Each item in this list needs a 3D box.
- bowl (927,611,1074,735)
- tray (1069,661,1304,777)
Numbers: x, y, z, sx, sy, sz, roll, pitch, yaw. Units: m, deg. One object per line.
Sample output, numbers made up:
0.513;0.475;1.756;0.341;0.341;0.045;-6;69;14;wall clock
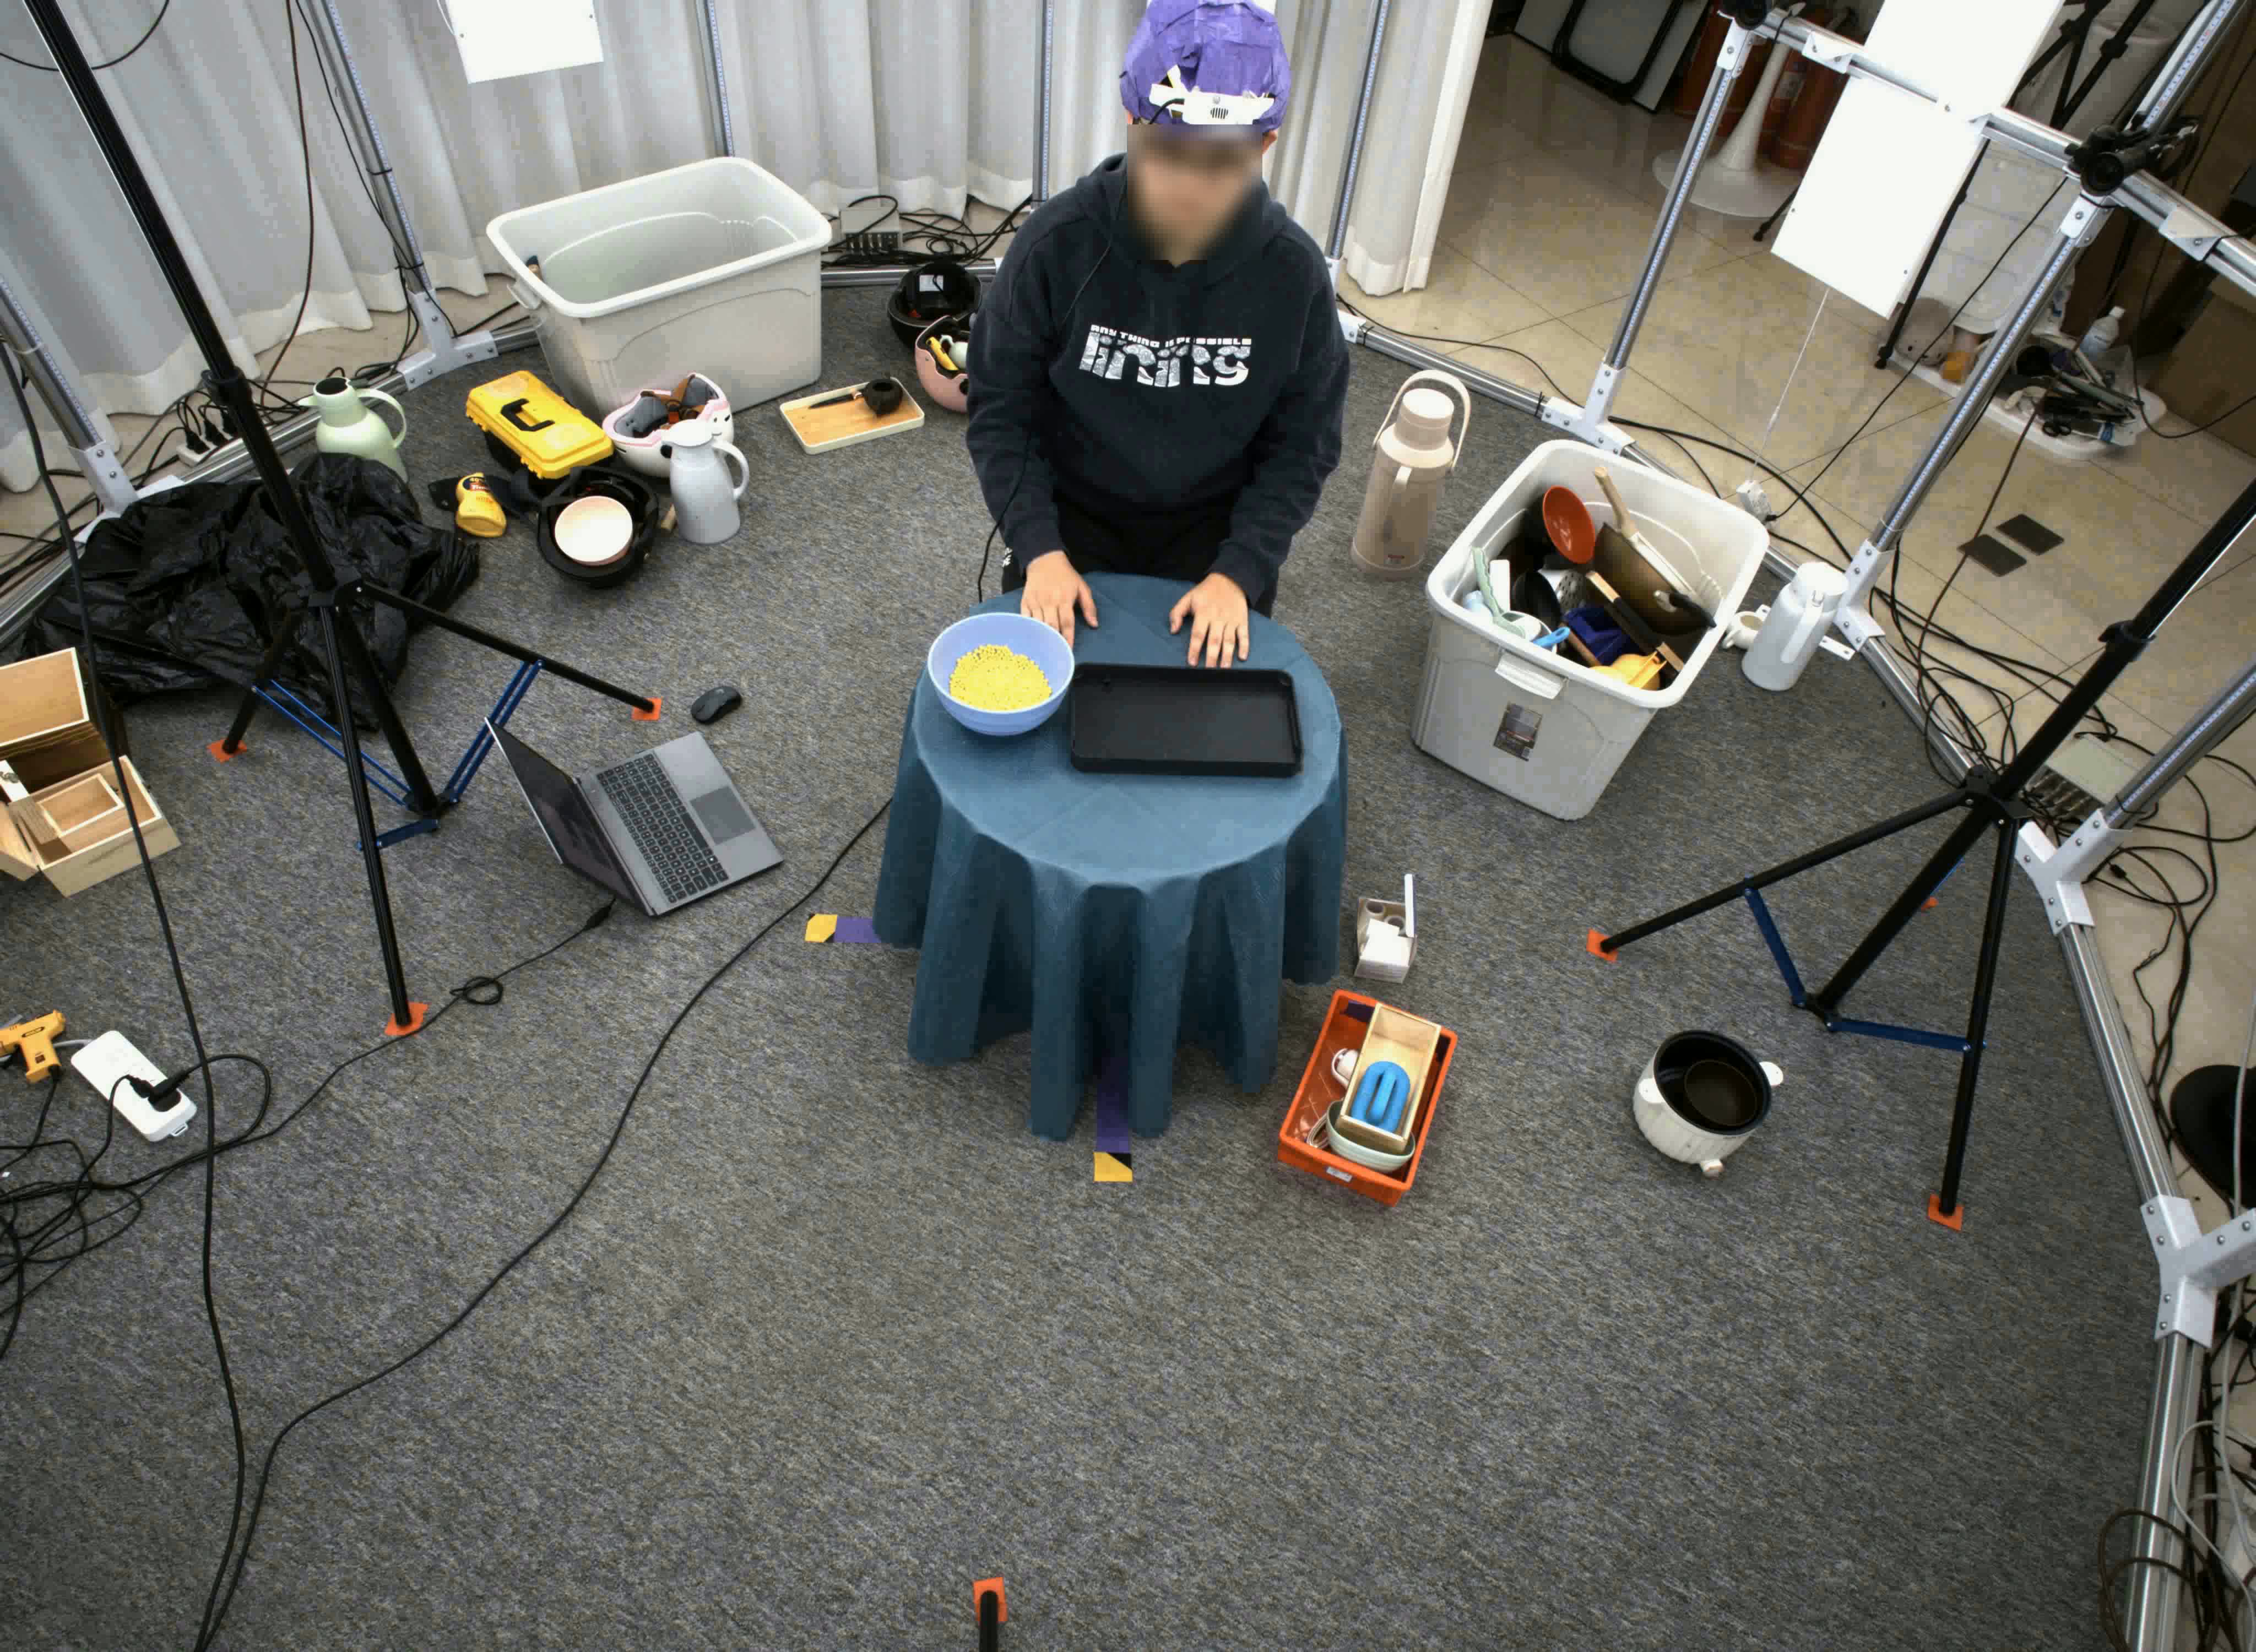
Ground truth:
-0.173;-0.194;1.757;0.196;0.093;0.201;2;50;-2;bowl
0.076;-0.149;1.776;0.317;0.036;0.189;2;49;-3;tray
